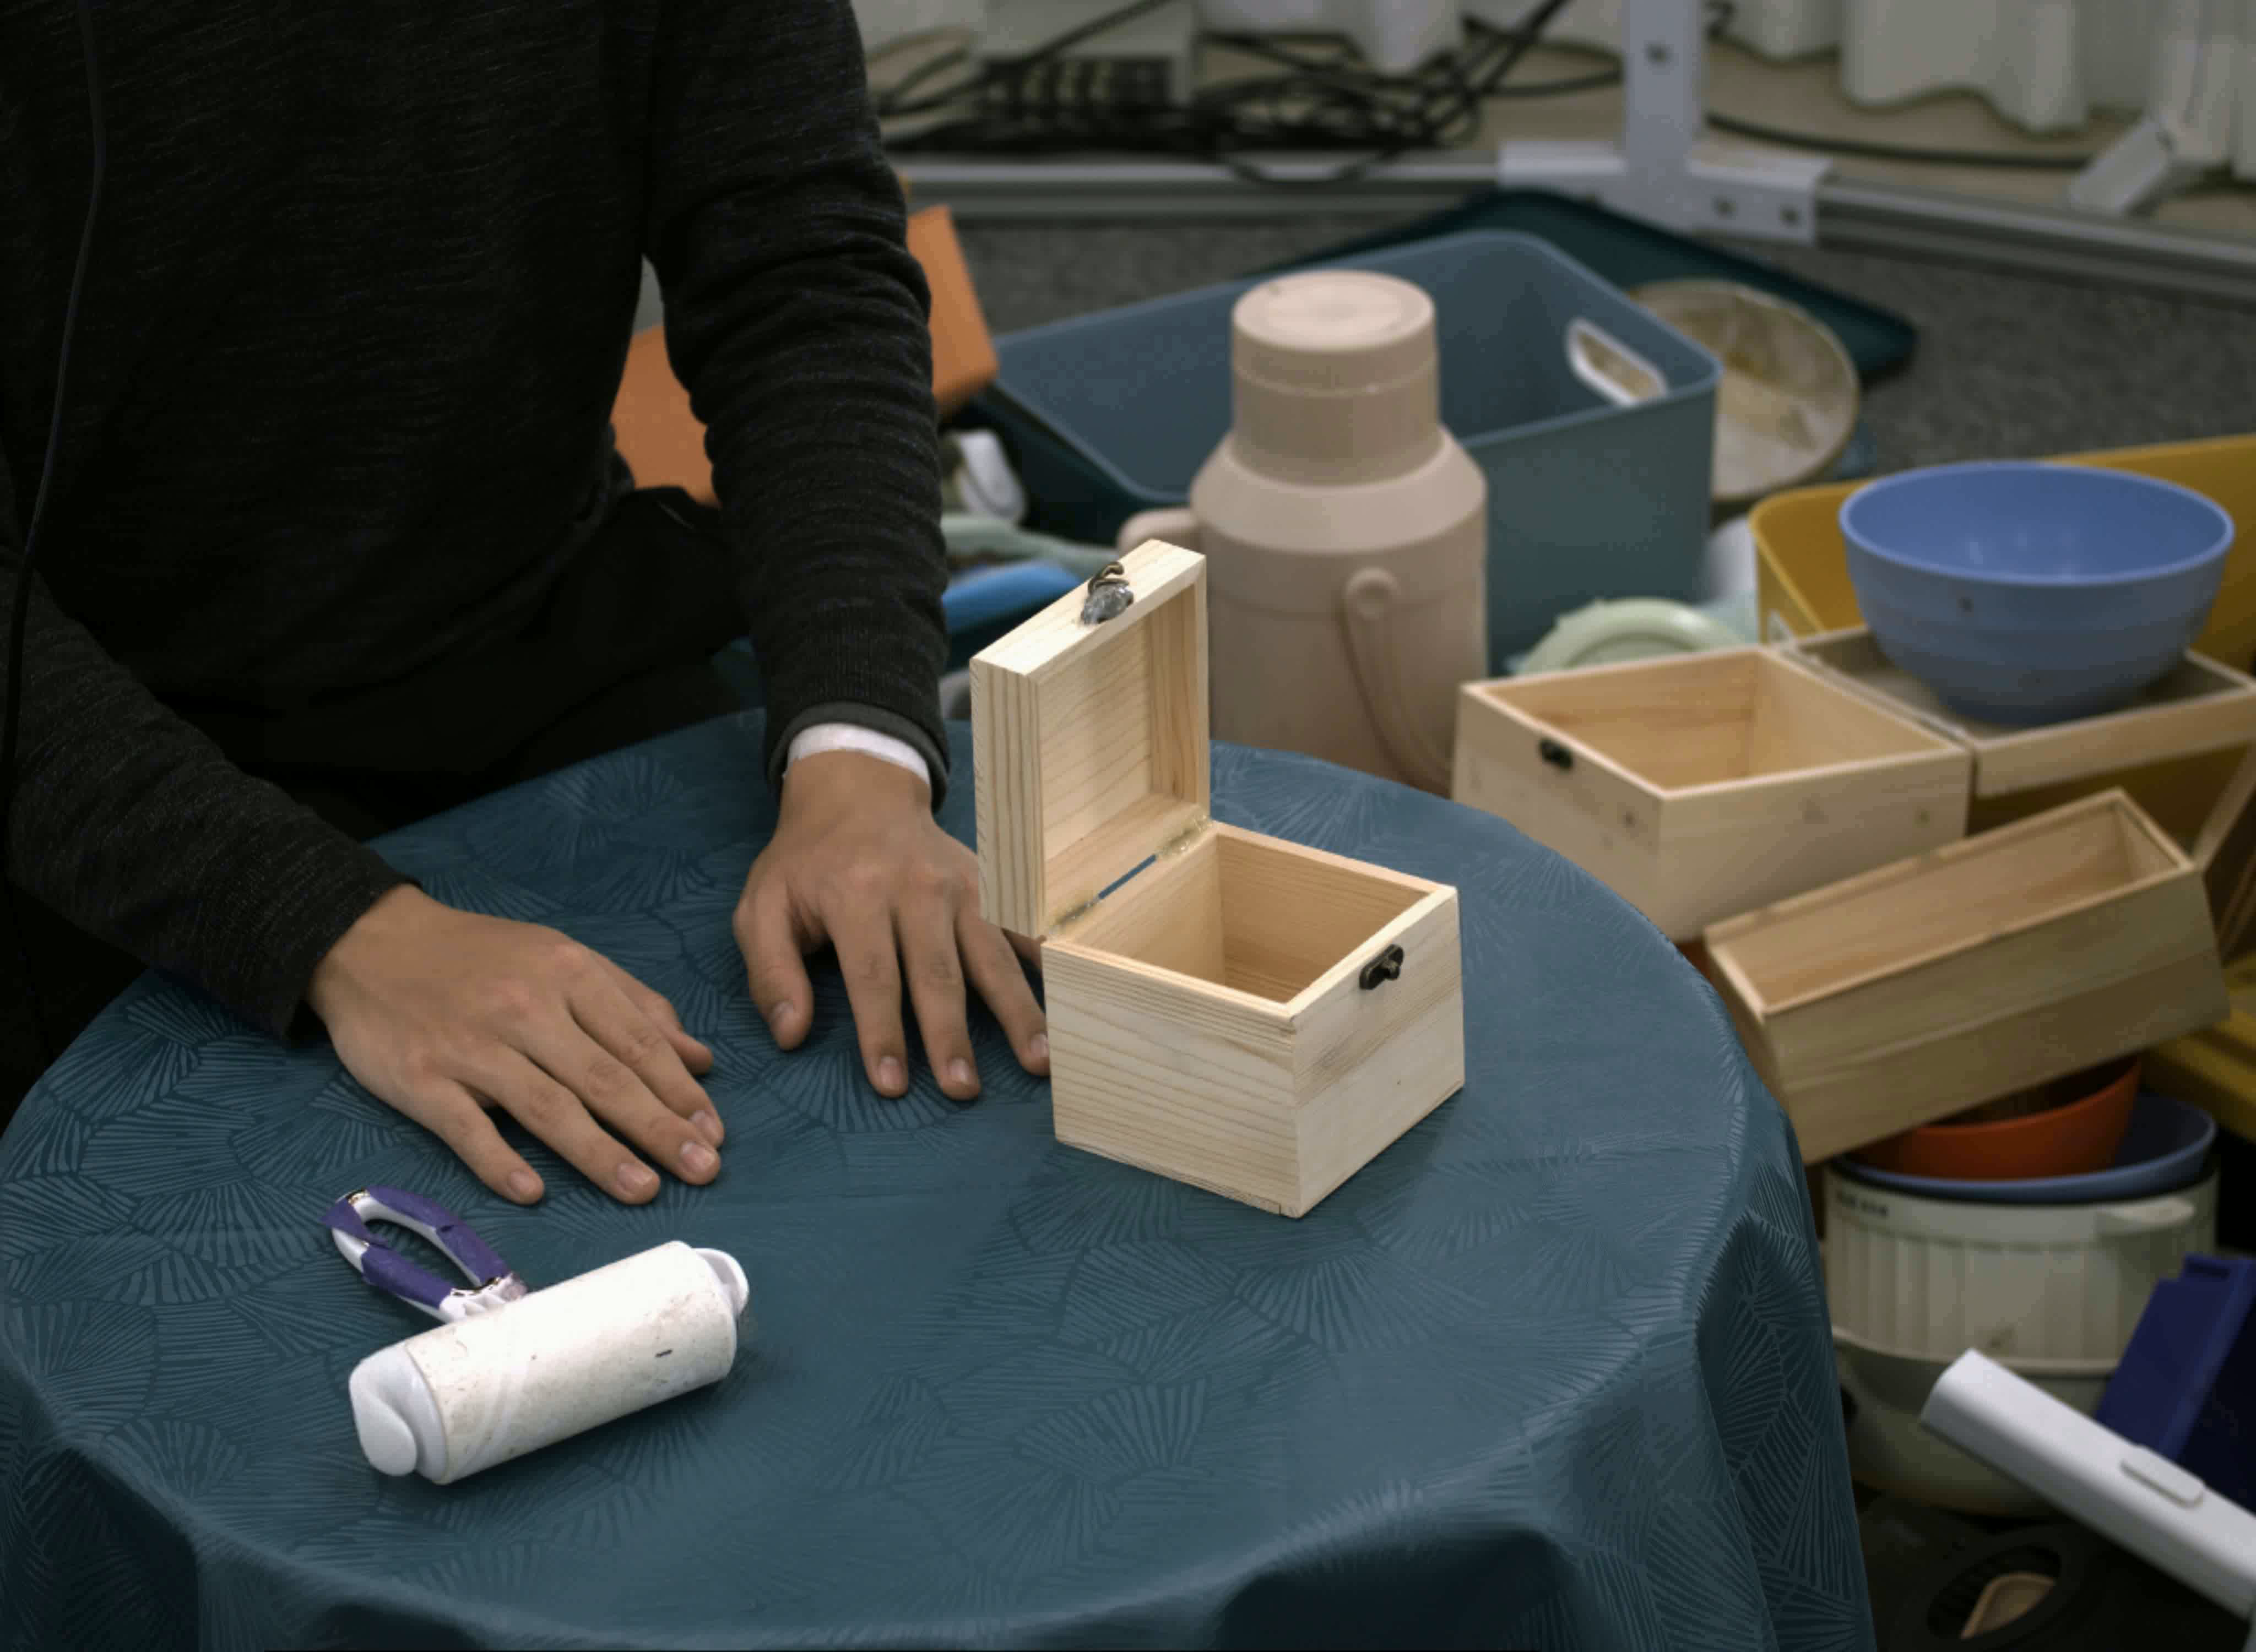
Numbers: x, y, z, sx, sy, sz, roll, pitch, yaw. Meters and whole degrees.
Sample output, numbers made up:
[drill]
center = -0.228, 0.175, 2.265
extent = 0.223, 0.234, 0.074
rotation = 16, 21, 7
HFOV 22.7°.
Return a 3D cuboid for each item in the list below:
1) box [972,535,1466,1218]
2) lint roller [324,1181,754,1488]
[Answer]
[box]
center = 0.033, 0.015, 1.868
extent = 0.133, 0.182, 0.104
rotation = 15, 31, 33
[lint roller]
center = -0.211, 0.142, 1.793
extent = 0.134, 0.049, 0.181
rotation = -18, 33, -26
